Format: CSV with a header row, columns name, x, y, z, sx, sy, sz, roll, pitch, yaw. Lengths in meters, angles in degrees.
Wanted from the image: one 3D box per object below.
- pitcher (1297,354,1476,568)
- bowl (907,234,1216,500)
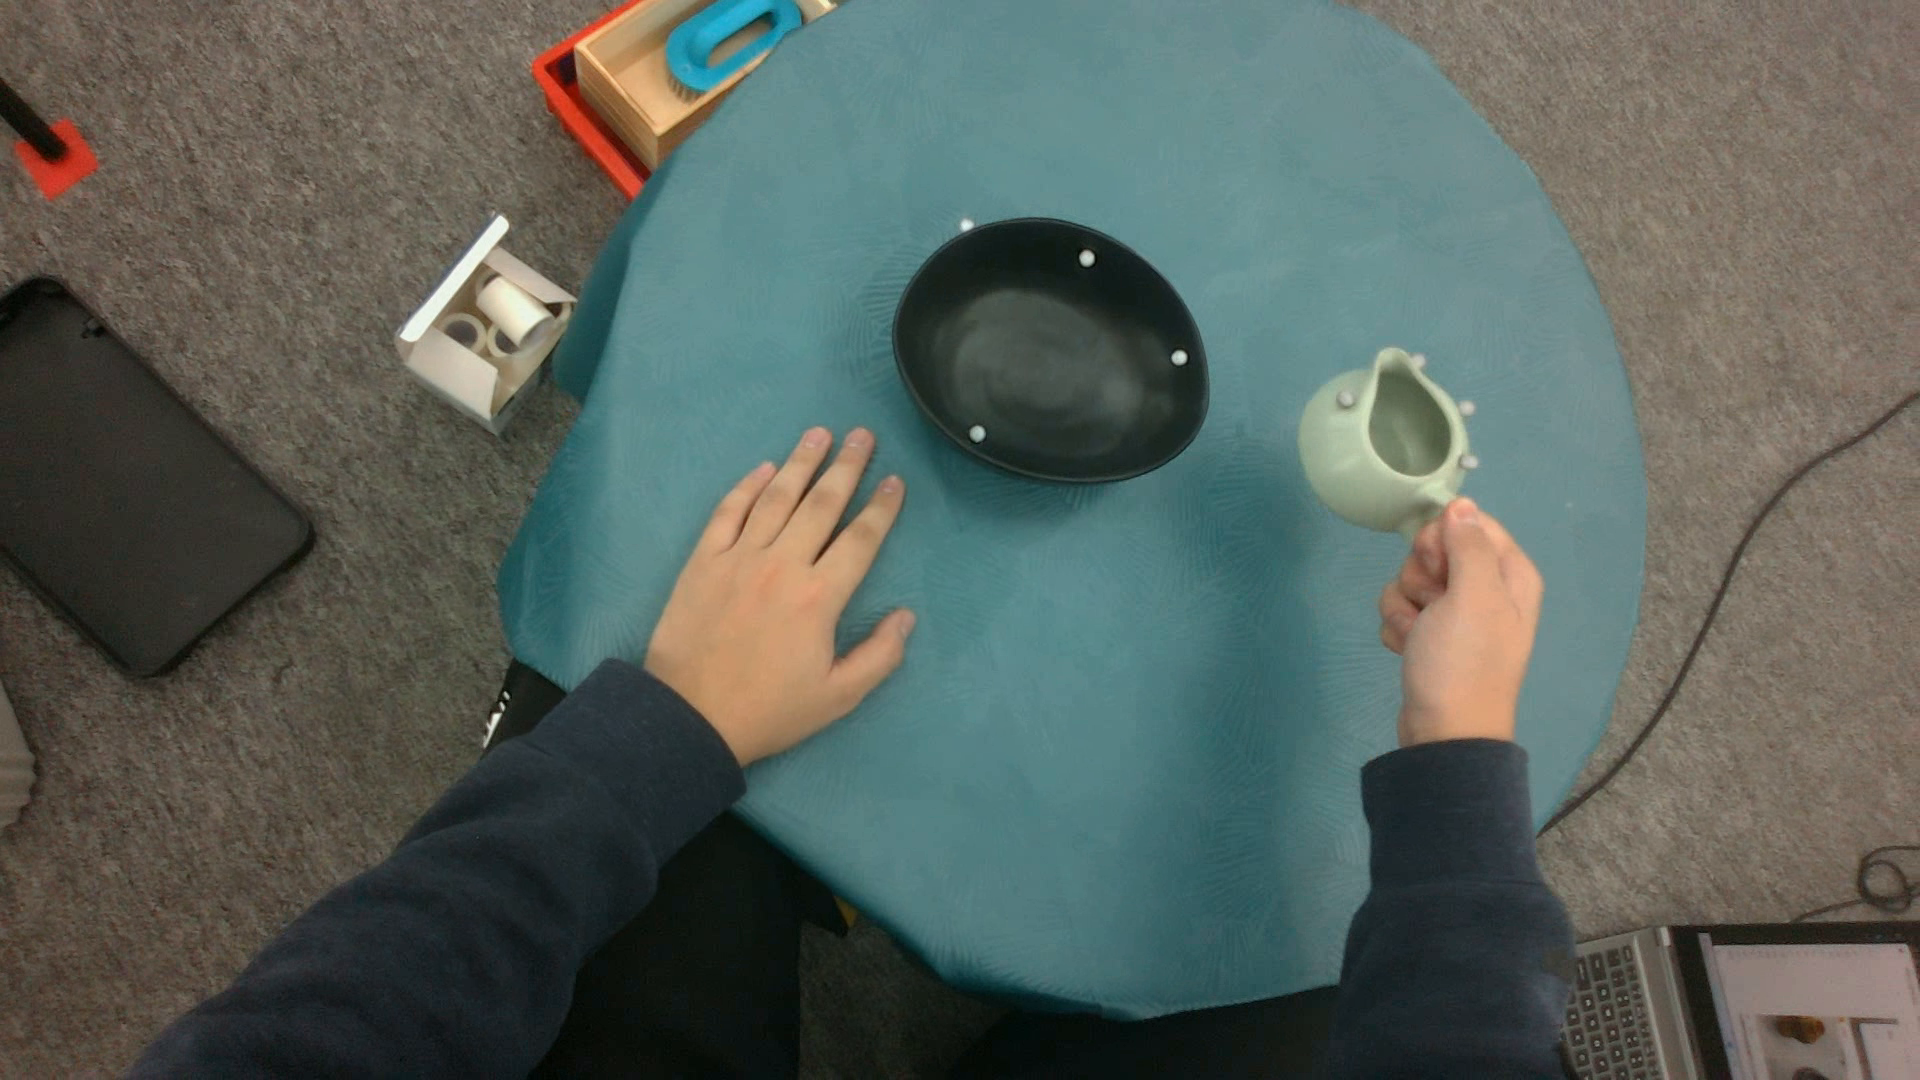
name,x,y,z,sx,sy,sz,roll,pitch,yaw
pitcher,0.217,-0.036,0.681,0.086,0.060,0.108,-23,82,-14
bowl,0.051,-0.084,0.728,0.170,0.066,0.137,13,77,-10
